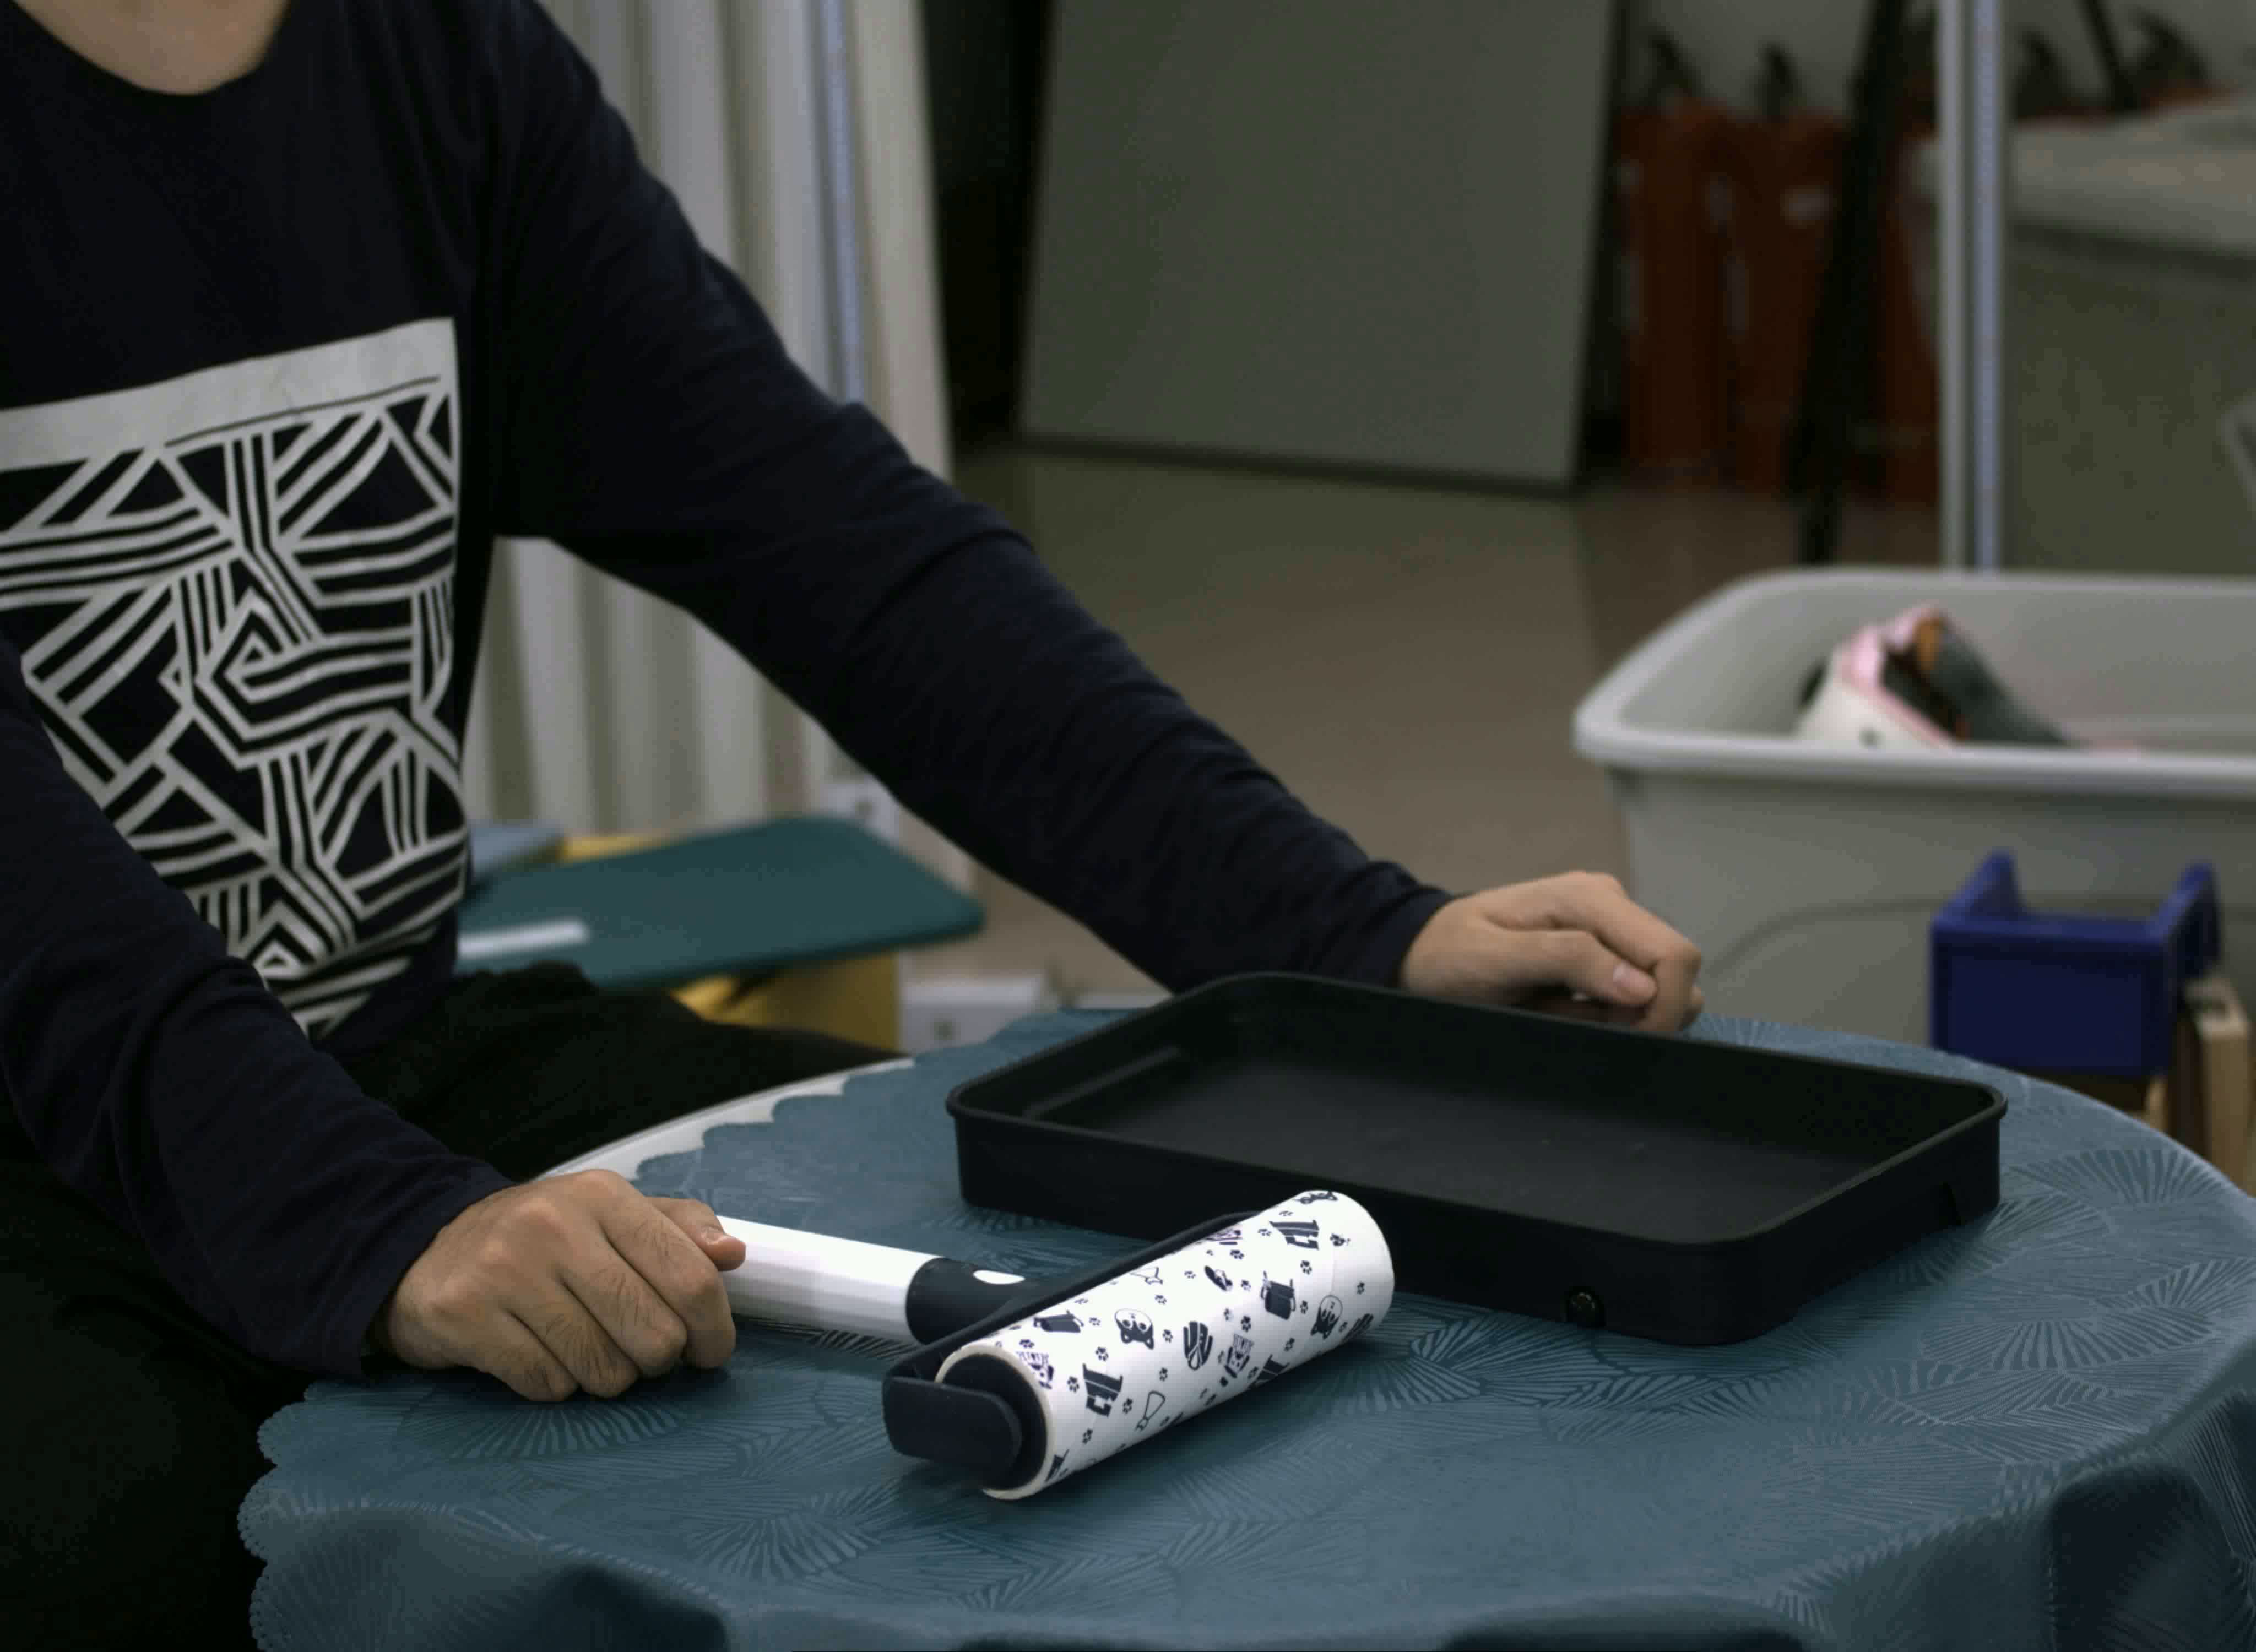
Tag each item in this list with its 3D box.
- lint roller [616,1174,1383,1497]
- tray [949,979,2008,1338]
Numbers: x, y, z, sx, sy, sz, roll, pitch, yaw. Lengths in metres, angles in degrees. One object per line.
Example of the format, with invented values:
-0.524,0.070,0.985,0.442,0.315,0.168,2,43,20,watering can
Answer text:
-0.066,0.143,1.624,0.249,0.051,0.173,3,16,41,lint roller
0.110,0.103,1.741,0.320,0.037,0.181,7,17,40,tray
